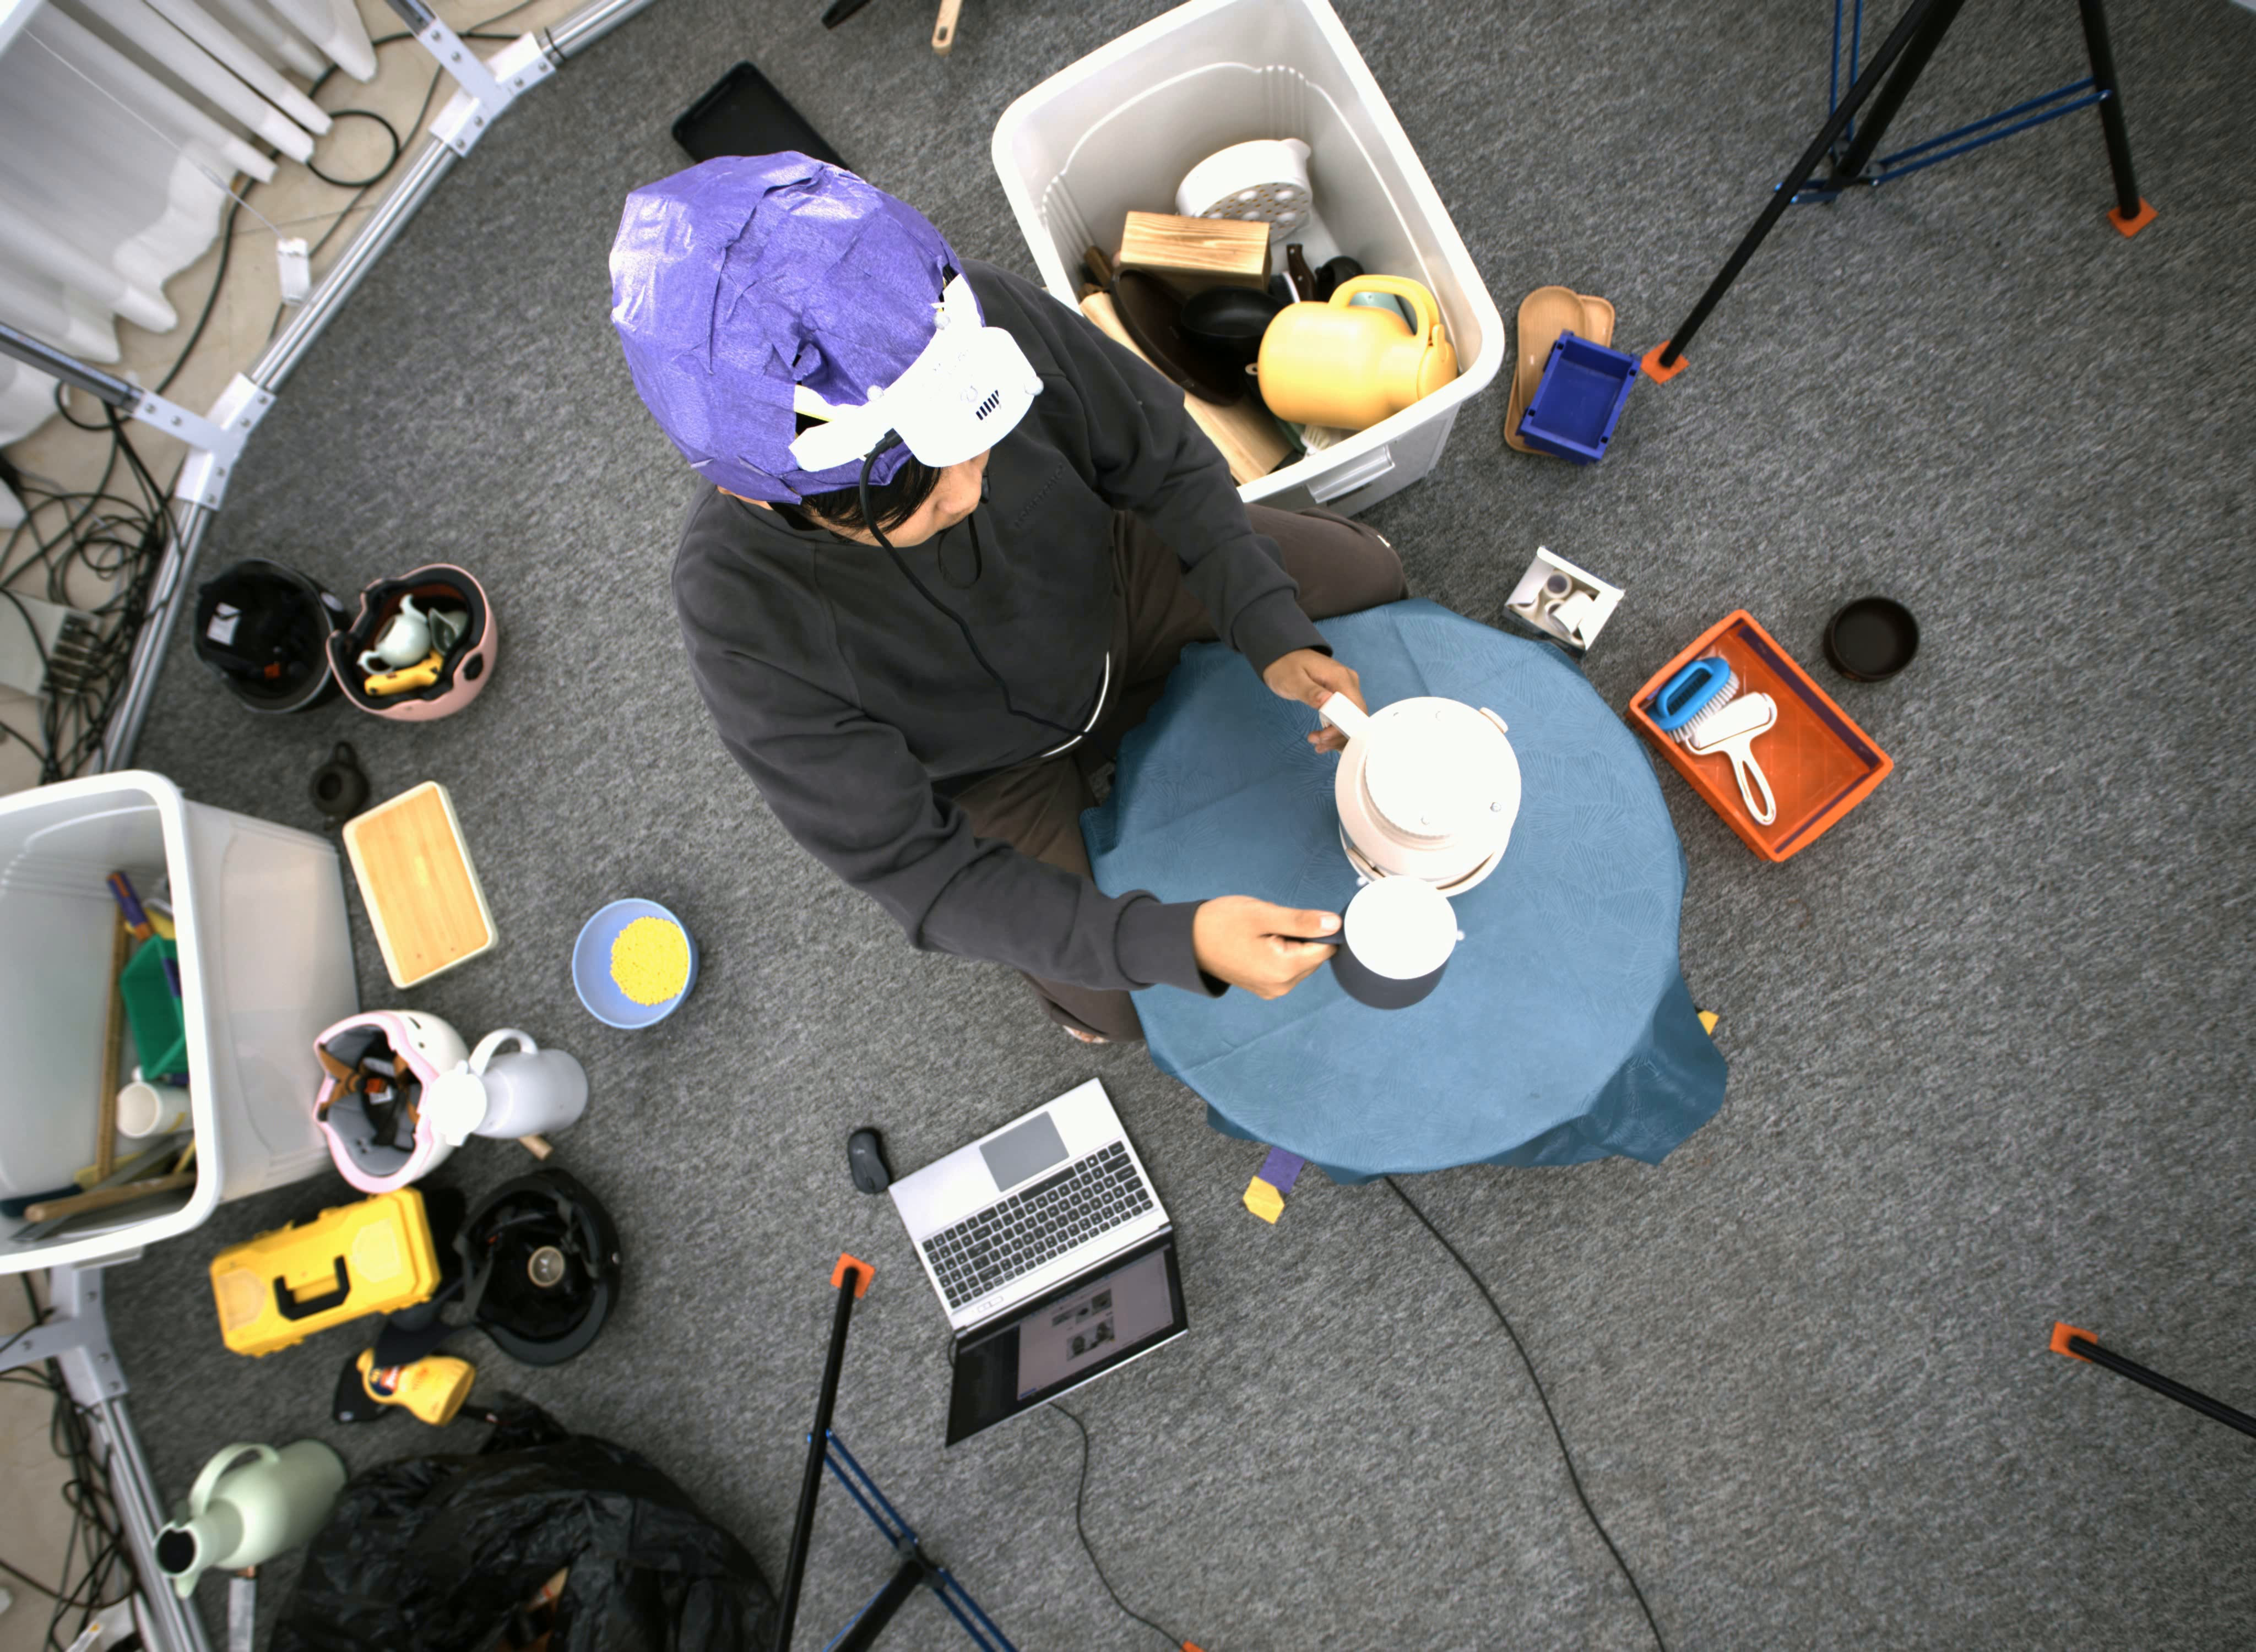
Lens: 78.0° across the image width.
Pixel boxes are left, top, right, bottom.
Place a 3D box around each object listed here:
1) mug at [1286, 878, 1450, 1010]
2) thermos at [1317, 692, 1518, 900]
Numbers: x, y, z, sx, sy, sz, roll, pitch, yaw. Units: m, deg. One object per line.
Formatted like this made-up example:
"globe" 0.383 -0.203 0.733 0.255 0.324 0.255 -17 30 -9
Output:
"mug" 0.183 0.088 1.059 0.123 0.091 0.092 1 72 4
"thermos" 0.259 -0.033 1.268 0.206 0.407 0.176 43 93 11
